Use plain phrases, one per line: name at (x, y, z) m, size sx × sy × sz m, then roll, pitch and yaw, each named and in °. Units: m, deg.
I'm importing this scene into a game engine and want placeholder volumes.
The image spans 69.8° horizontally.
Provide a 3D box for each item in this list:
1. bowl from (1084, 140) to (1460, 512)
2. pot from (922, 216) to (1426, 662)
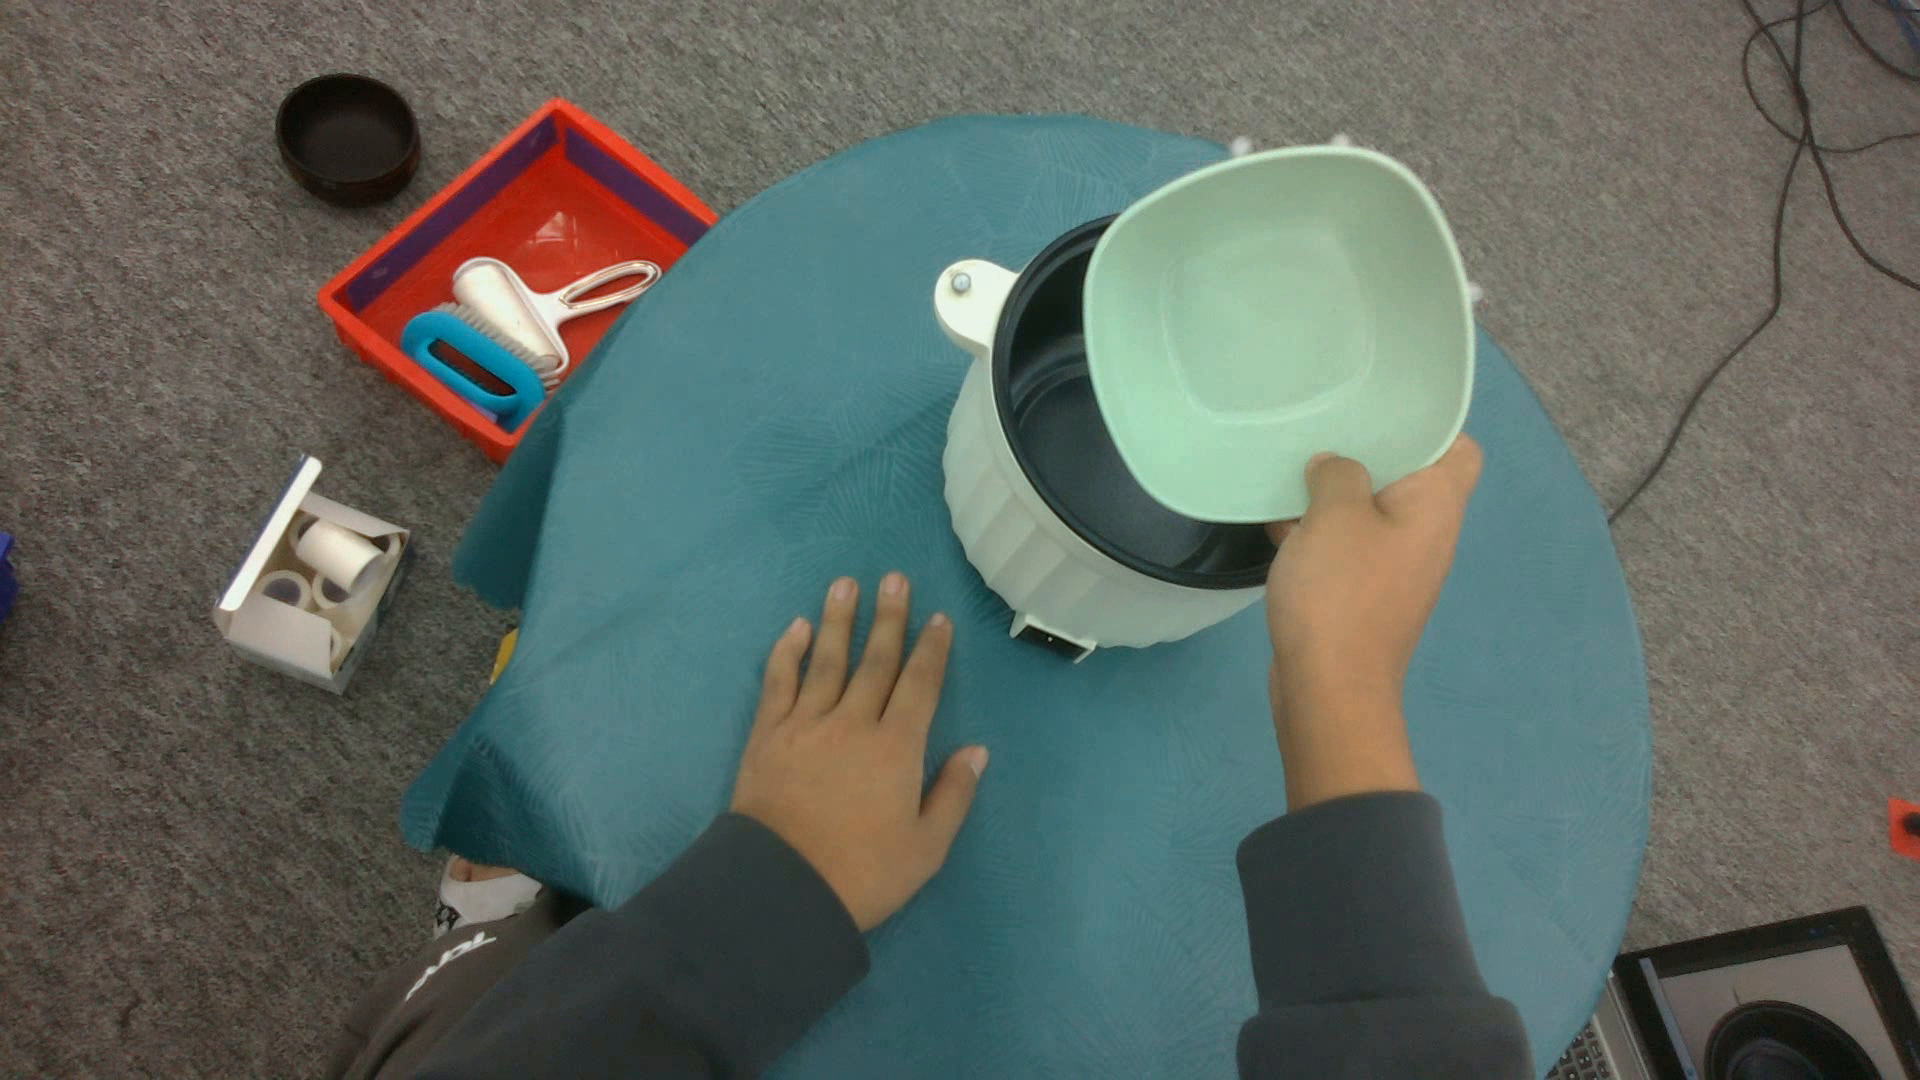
bowl at (0.121, -0.087, 0.549) m, size 0.151 × 0.059 × 0.151 m, roll 1°, pitch 108°, yaw 5°
pot at (0.084, -0.048, 0.668) m, size 0.240 × 0.142 × 0.191 m, roll 19°, pitch 68°, yaw -8°
